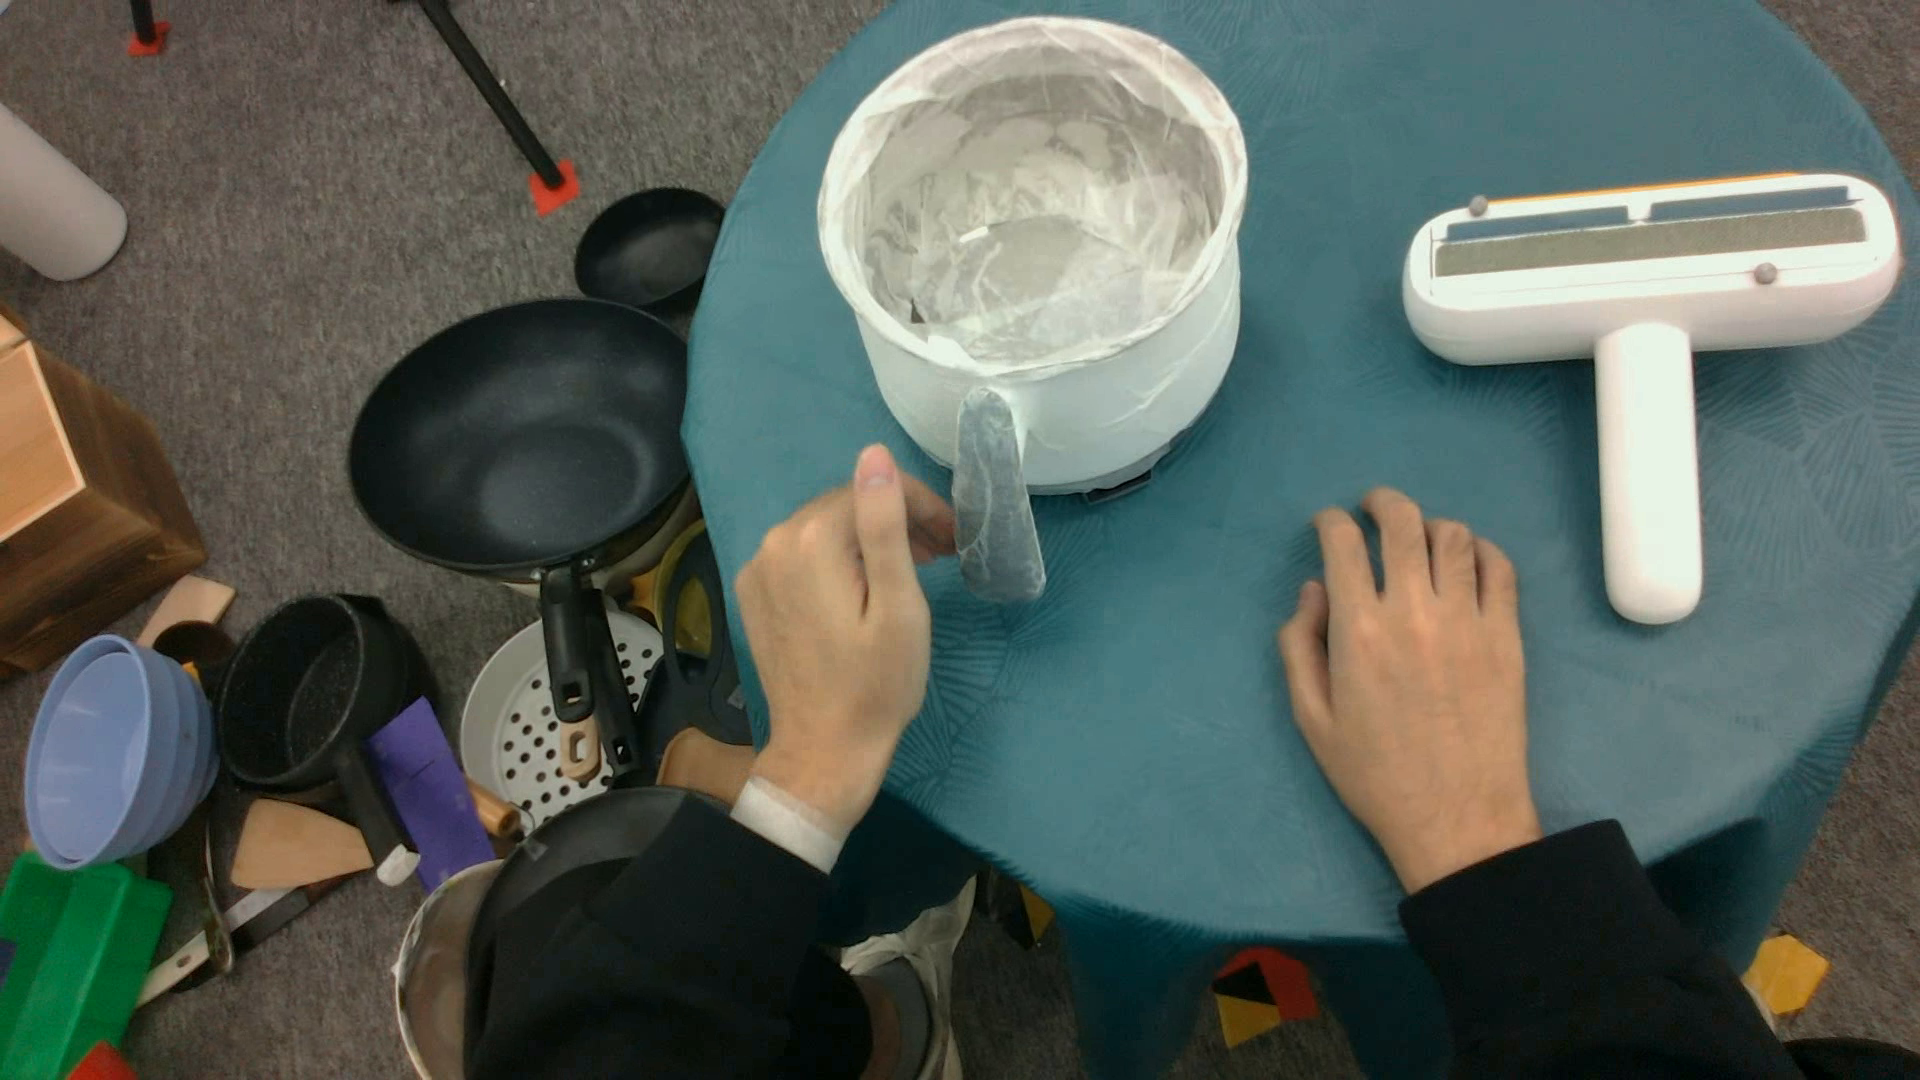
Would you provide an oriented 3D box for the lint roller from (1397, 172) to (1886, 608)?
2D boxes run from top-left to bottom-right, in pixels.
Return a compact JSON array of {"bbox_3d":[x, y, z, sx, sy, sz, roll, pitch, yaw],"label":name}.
[{"bbox_3d":[0.286,-0.068,0.595,0.192,0.074,0.193,4,69,16],"label":"lint roller"}]

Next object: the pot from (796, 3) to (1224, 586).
[{"bbox_3d":[0.025,-0.103,0.612,0.178,0.136,0.234,4,67,12],"label":"pot"}]
